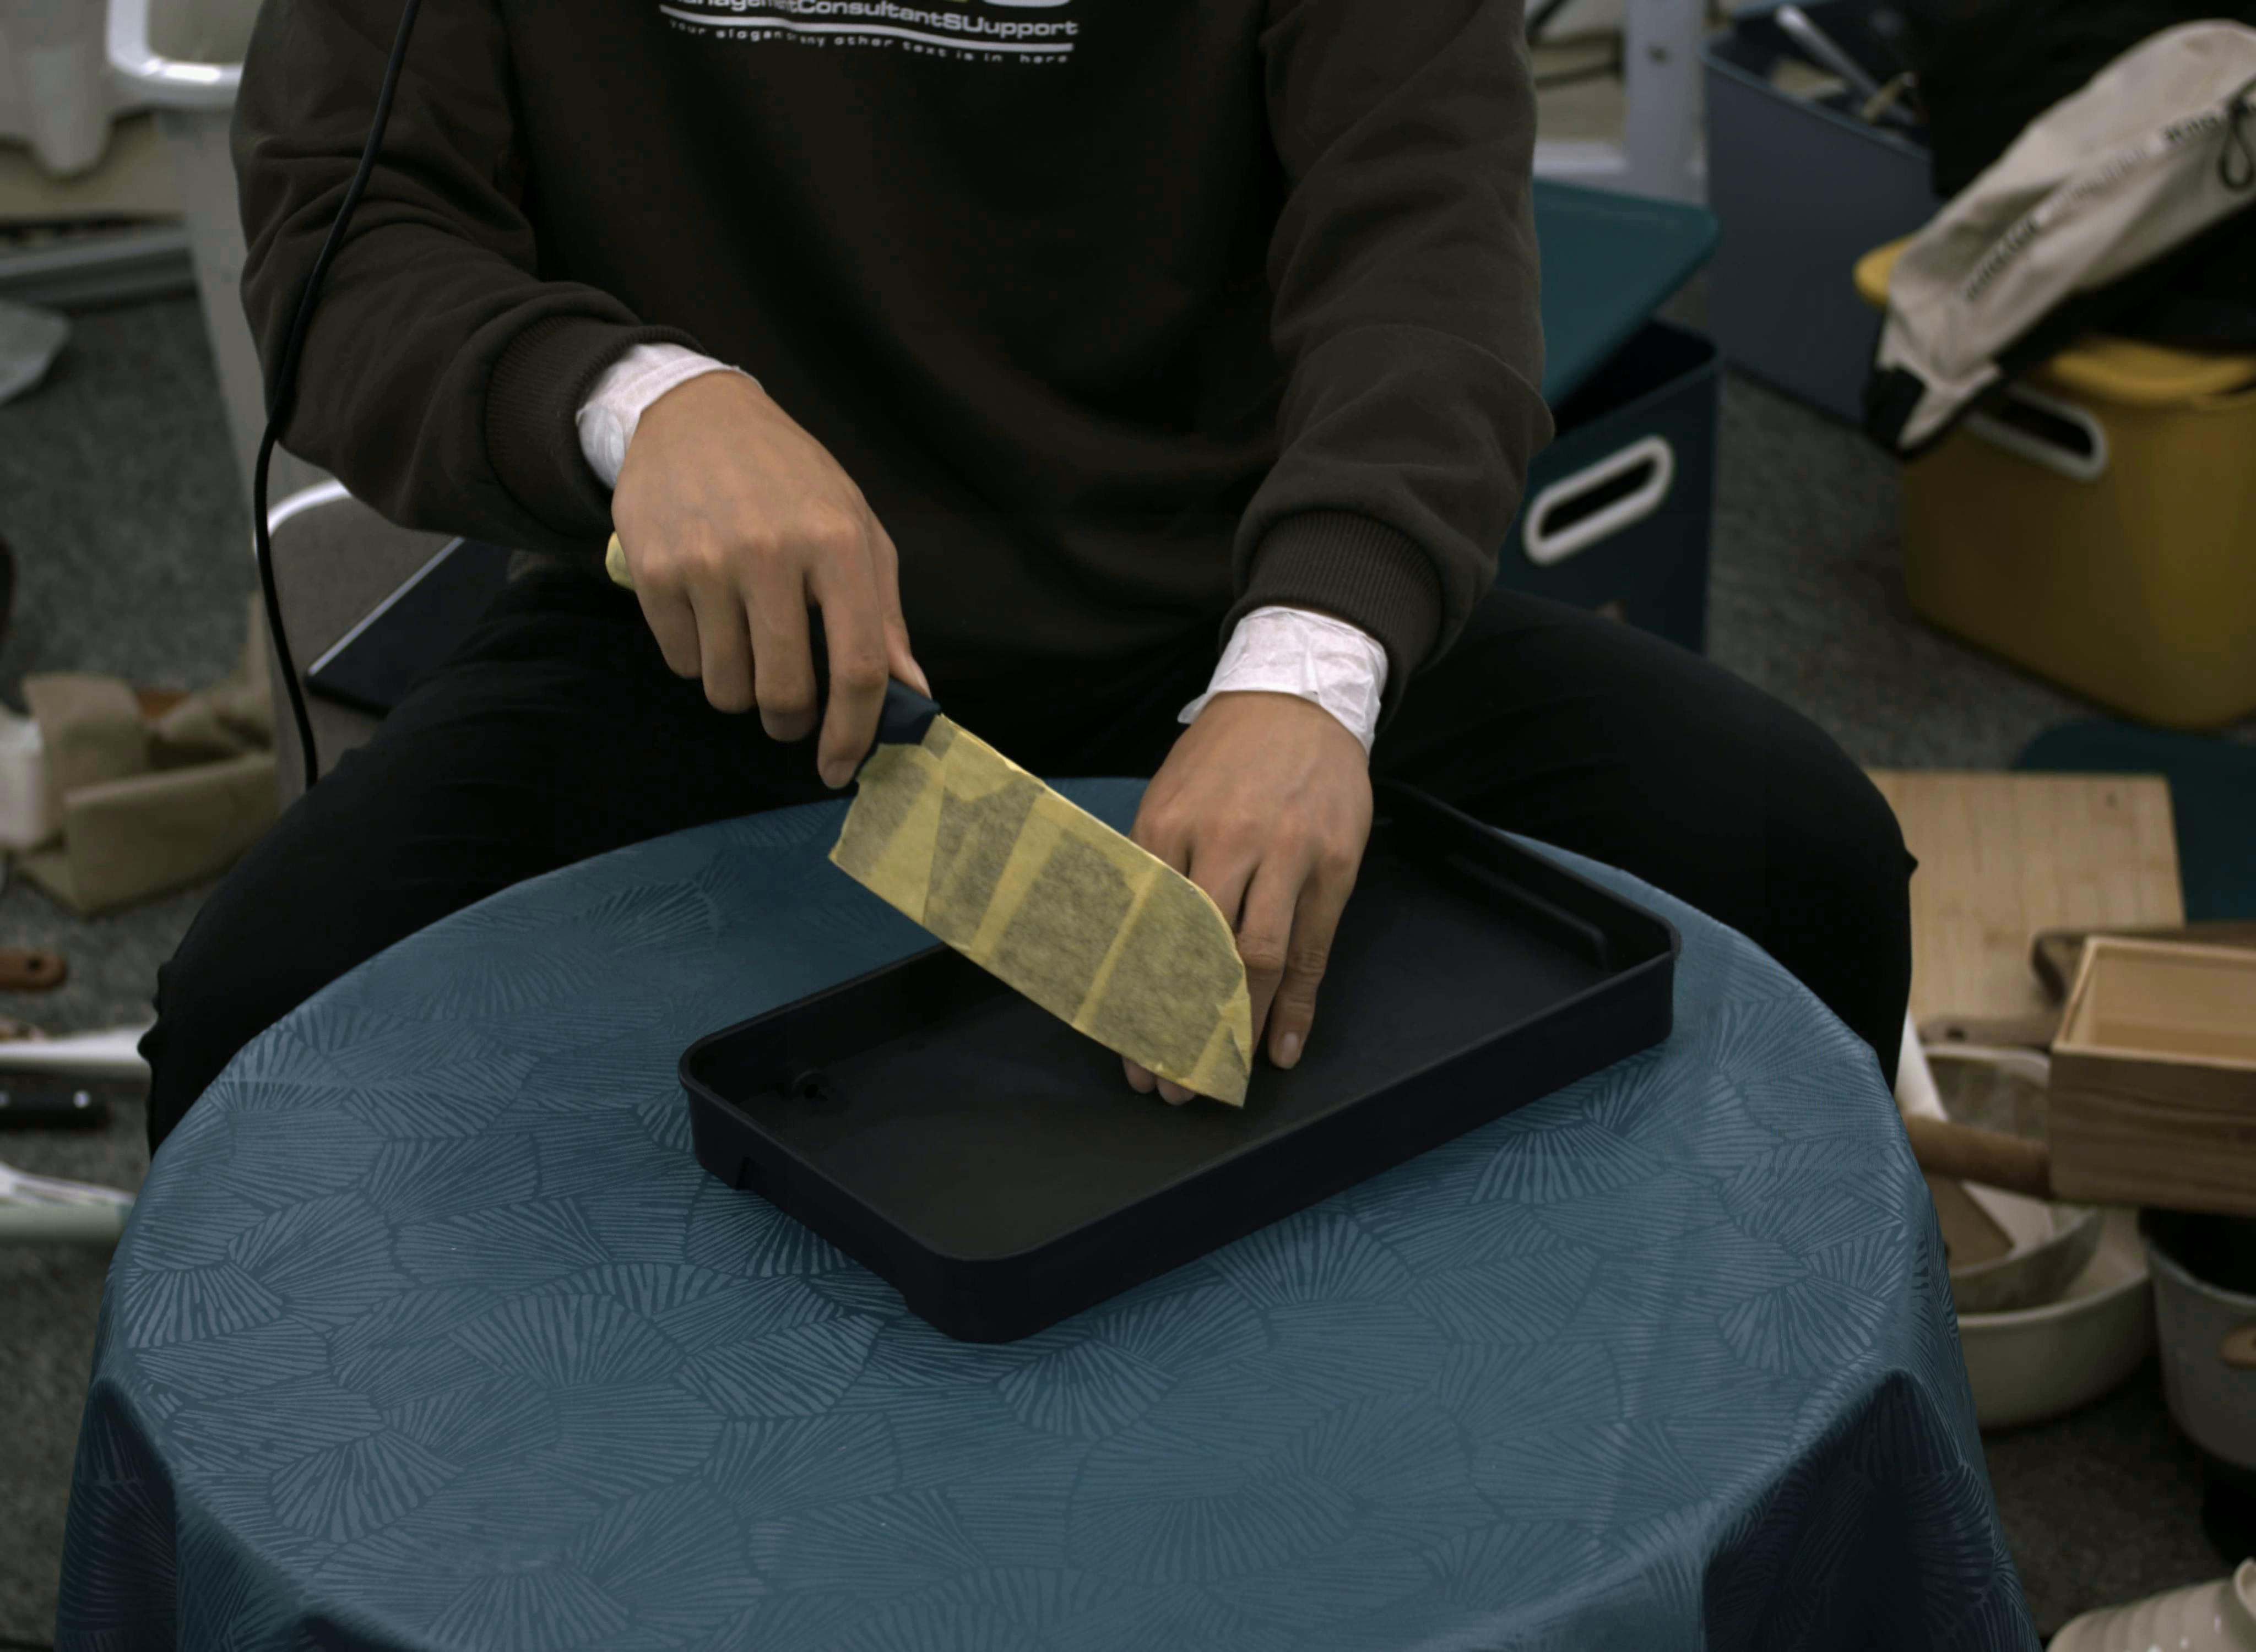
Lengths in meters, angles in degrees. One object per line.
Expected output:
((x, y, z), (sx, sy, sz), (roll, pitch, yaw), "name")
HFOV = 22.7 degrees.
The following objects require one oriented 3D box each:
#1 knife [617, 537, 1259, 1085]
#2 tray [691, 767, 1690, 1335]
((-0.068, -0.005, 1.920), (0.290, 0.080, 0.027), (37, 24, 17), "knife")
((0.024, 0.070, 1.917), (0.321, 0.036, 0.184), (-23, 34, -34), "tray")
